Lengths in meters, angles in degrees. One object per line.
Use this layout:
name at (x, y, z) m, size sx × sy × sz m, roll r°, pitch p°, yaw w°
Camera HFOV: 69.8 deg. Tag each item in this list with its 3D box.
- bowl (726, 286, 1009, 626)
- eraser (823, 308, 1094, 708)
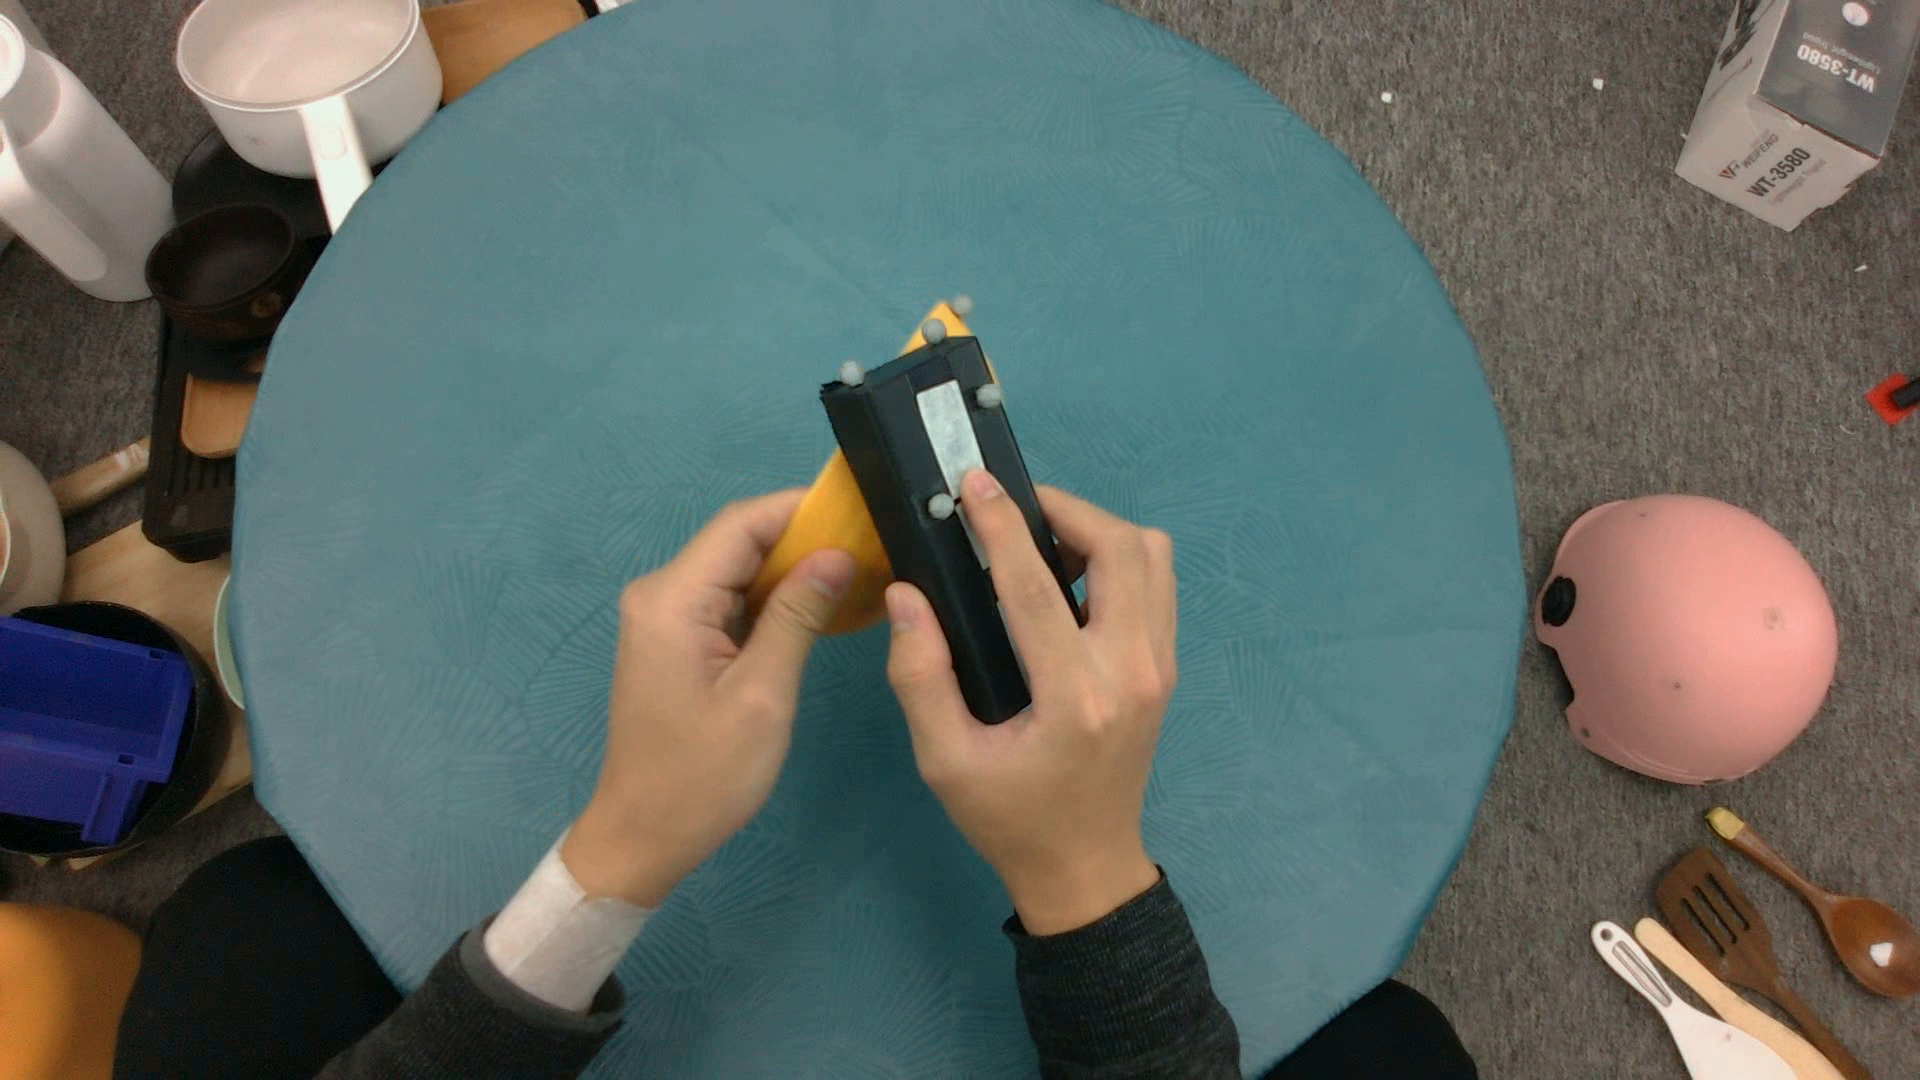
bowl at (-0.022, -0.019, 0.516) m, size 0.060 × 0.145 × 0.146 m, roll 36°, pitch 72°, yaw -3°
eraser at (0.001, -0.010, 0.463) m, size 0.054 × 0.030 × 0.125 m, roll -30°, pitch 108°, yaw -27°
